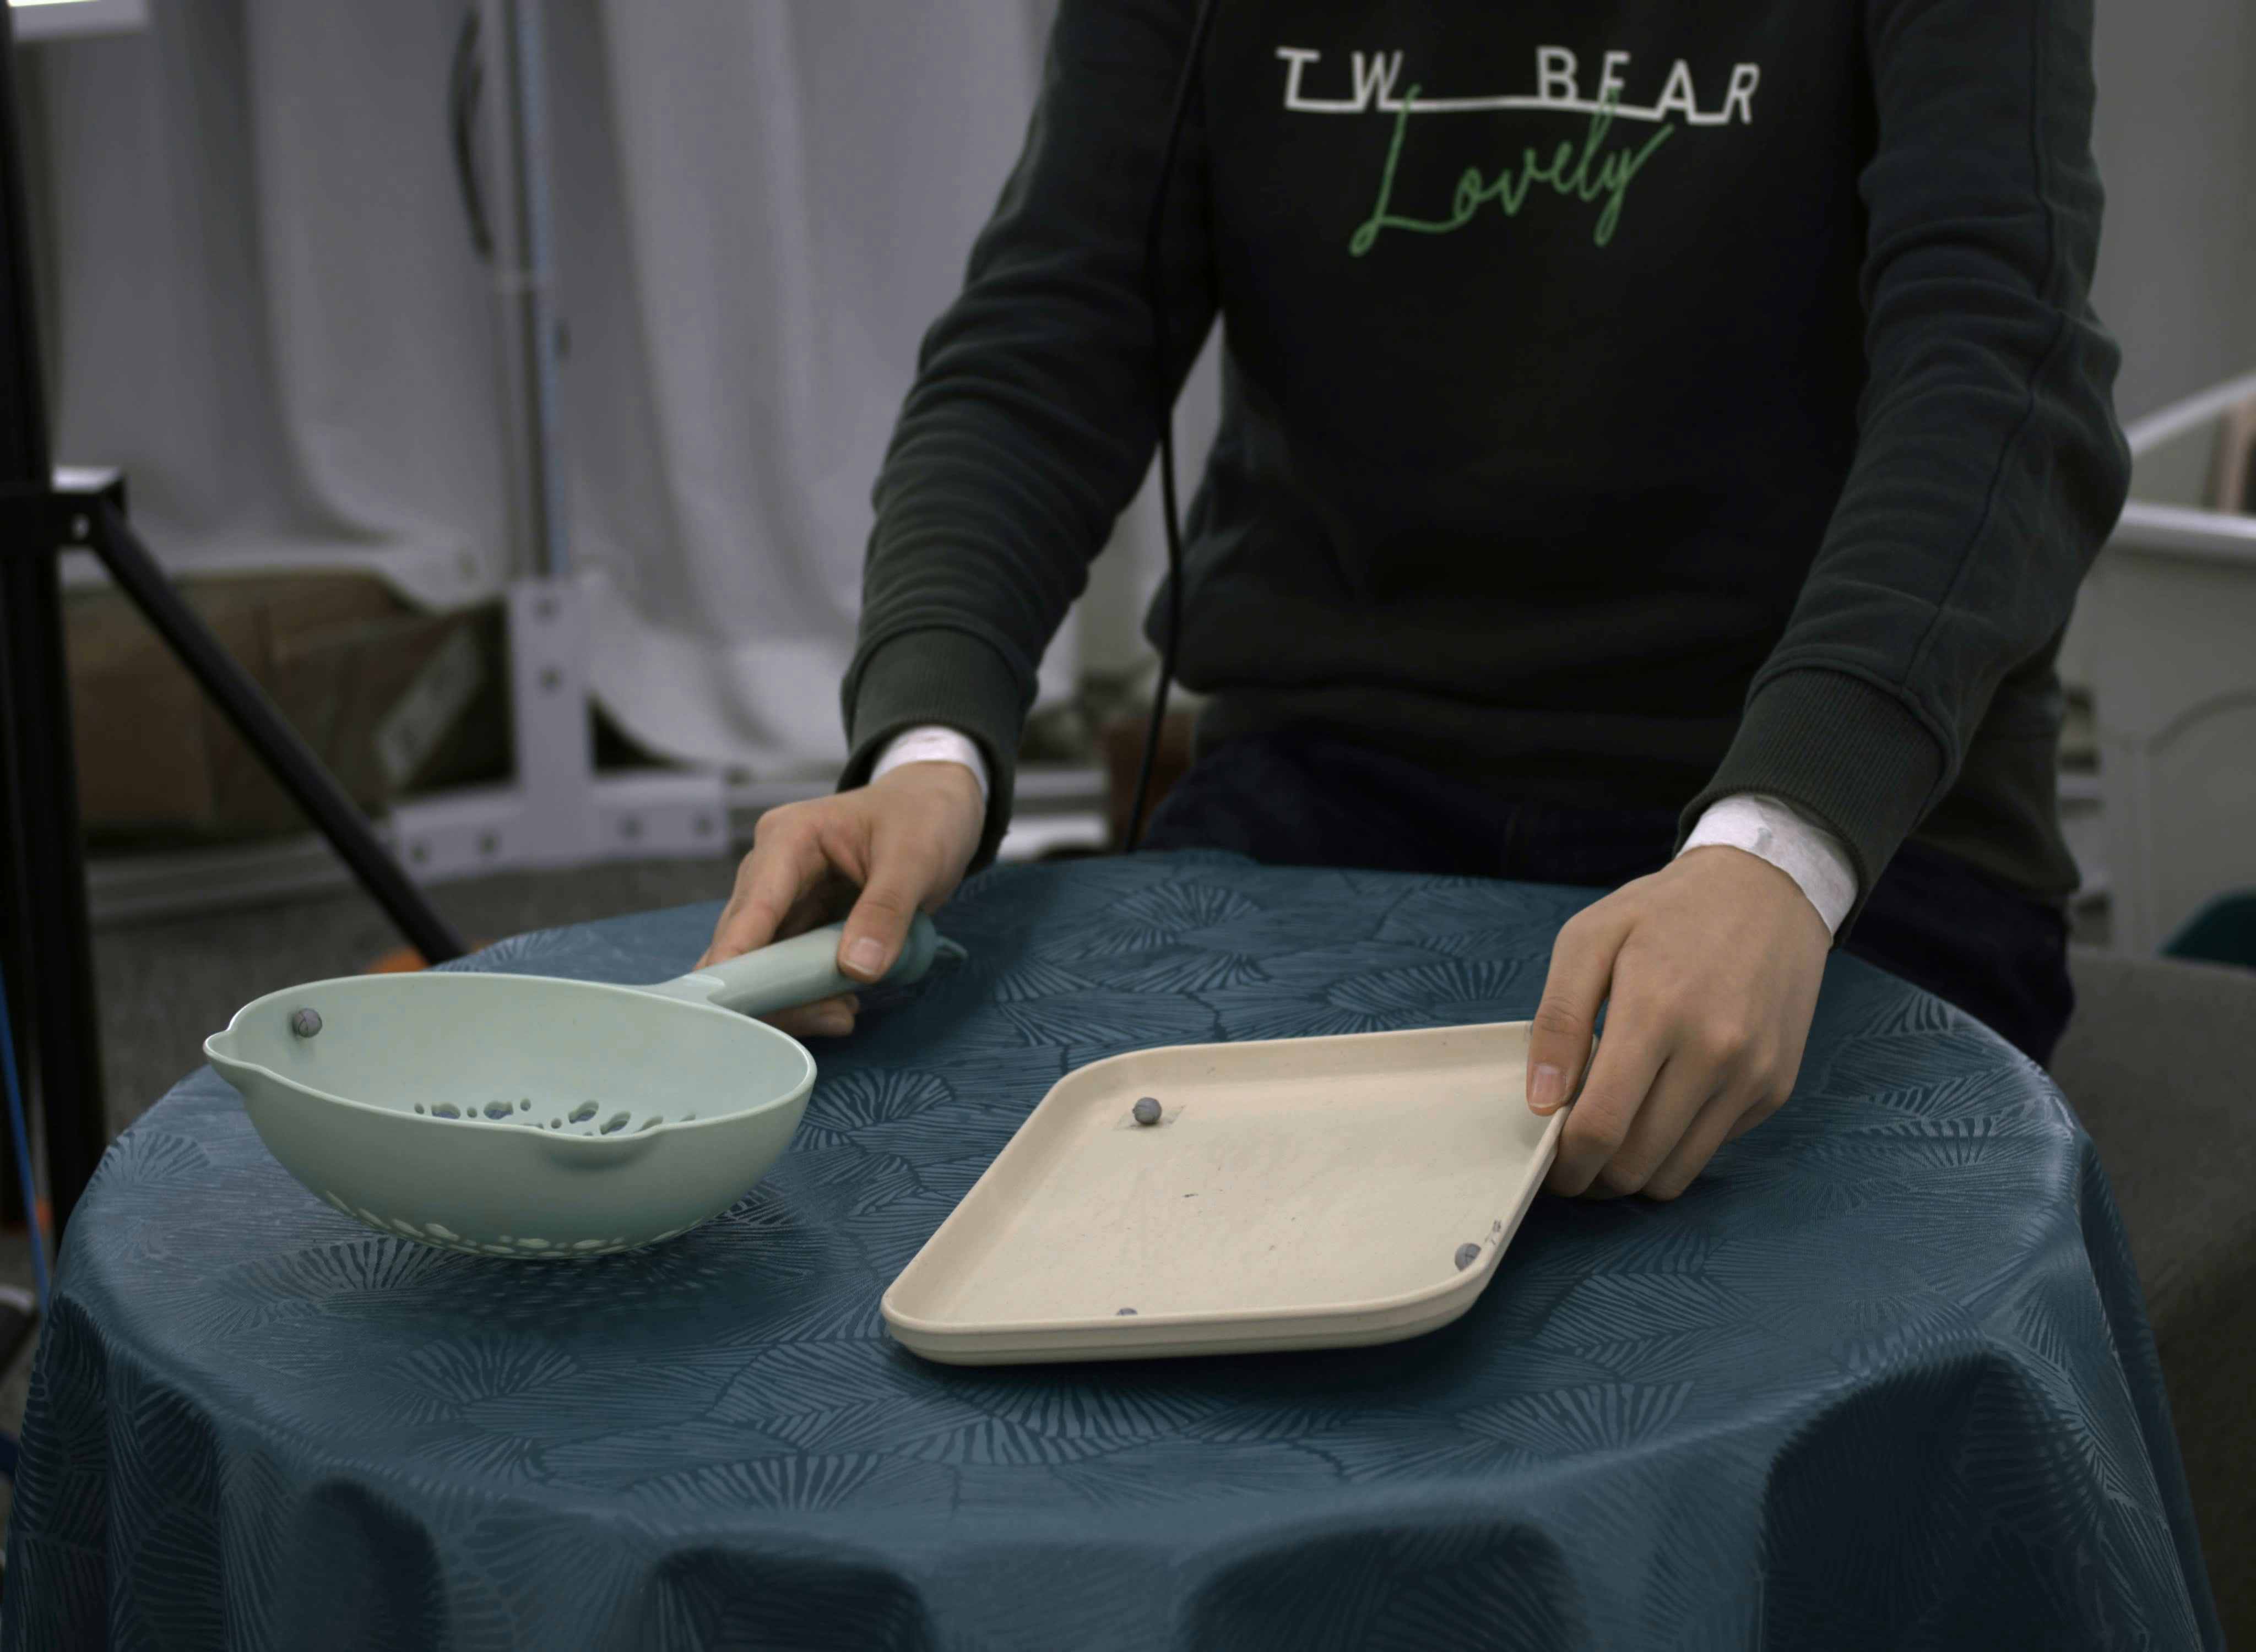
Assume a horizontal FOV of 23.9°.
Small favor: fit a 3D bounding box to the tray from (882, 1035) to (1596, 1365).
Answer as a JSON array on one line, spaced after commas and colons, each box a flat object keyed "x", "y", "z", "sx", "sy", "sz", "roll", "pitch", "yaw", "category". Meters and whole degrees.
[{"x": 0.037, "y": 0.105, "z": 1.502, "sx": 0.173, "sy": 0.017, "sz": 0.238, "roll": -5, "pitch": 14, "yaw": 17, "category": "tray"}]

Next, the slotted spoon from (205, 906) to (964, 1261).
[{"x": -0.134, "y": 0.062, "z": 1.620, "sx": 0.172, "sy": 0.075, "sz": 0.353, "roll": 11, "pitch": 21, "yaw": 23, "category": "slotted spoon"}]
